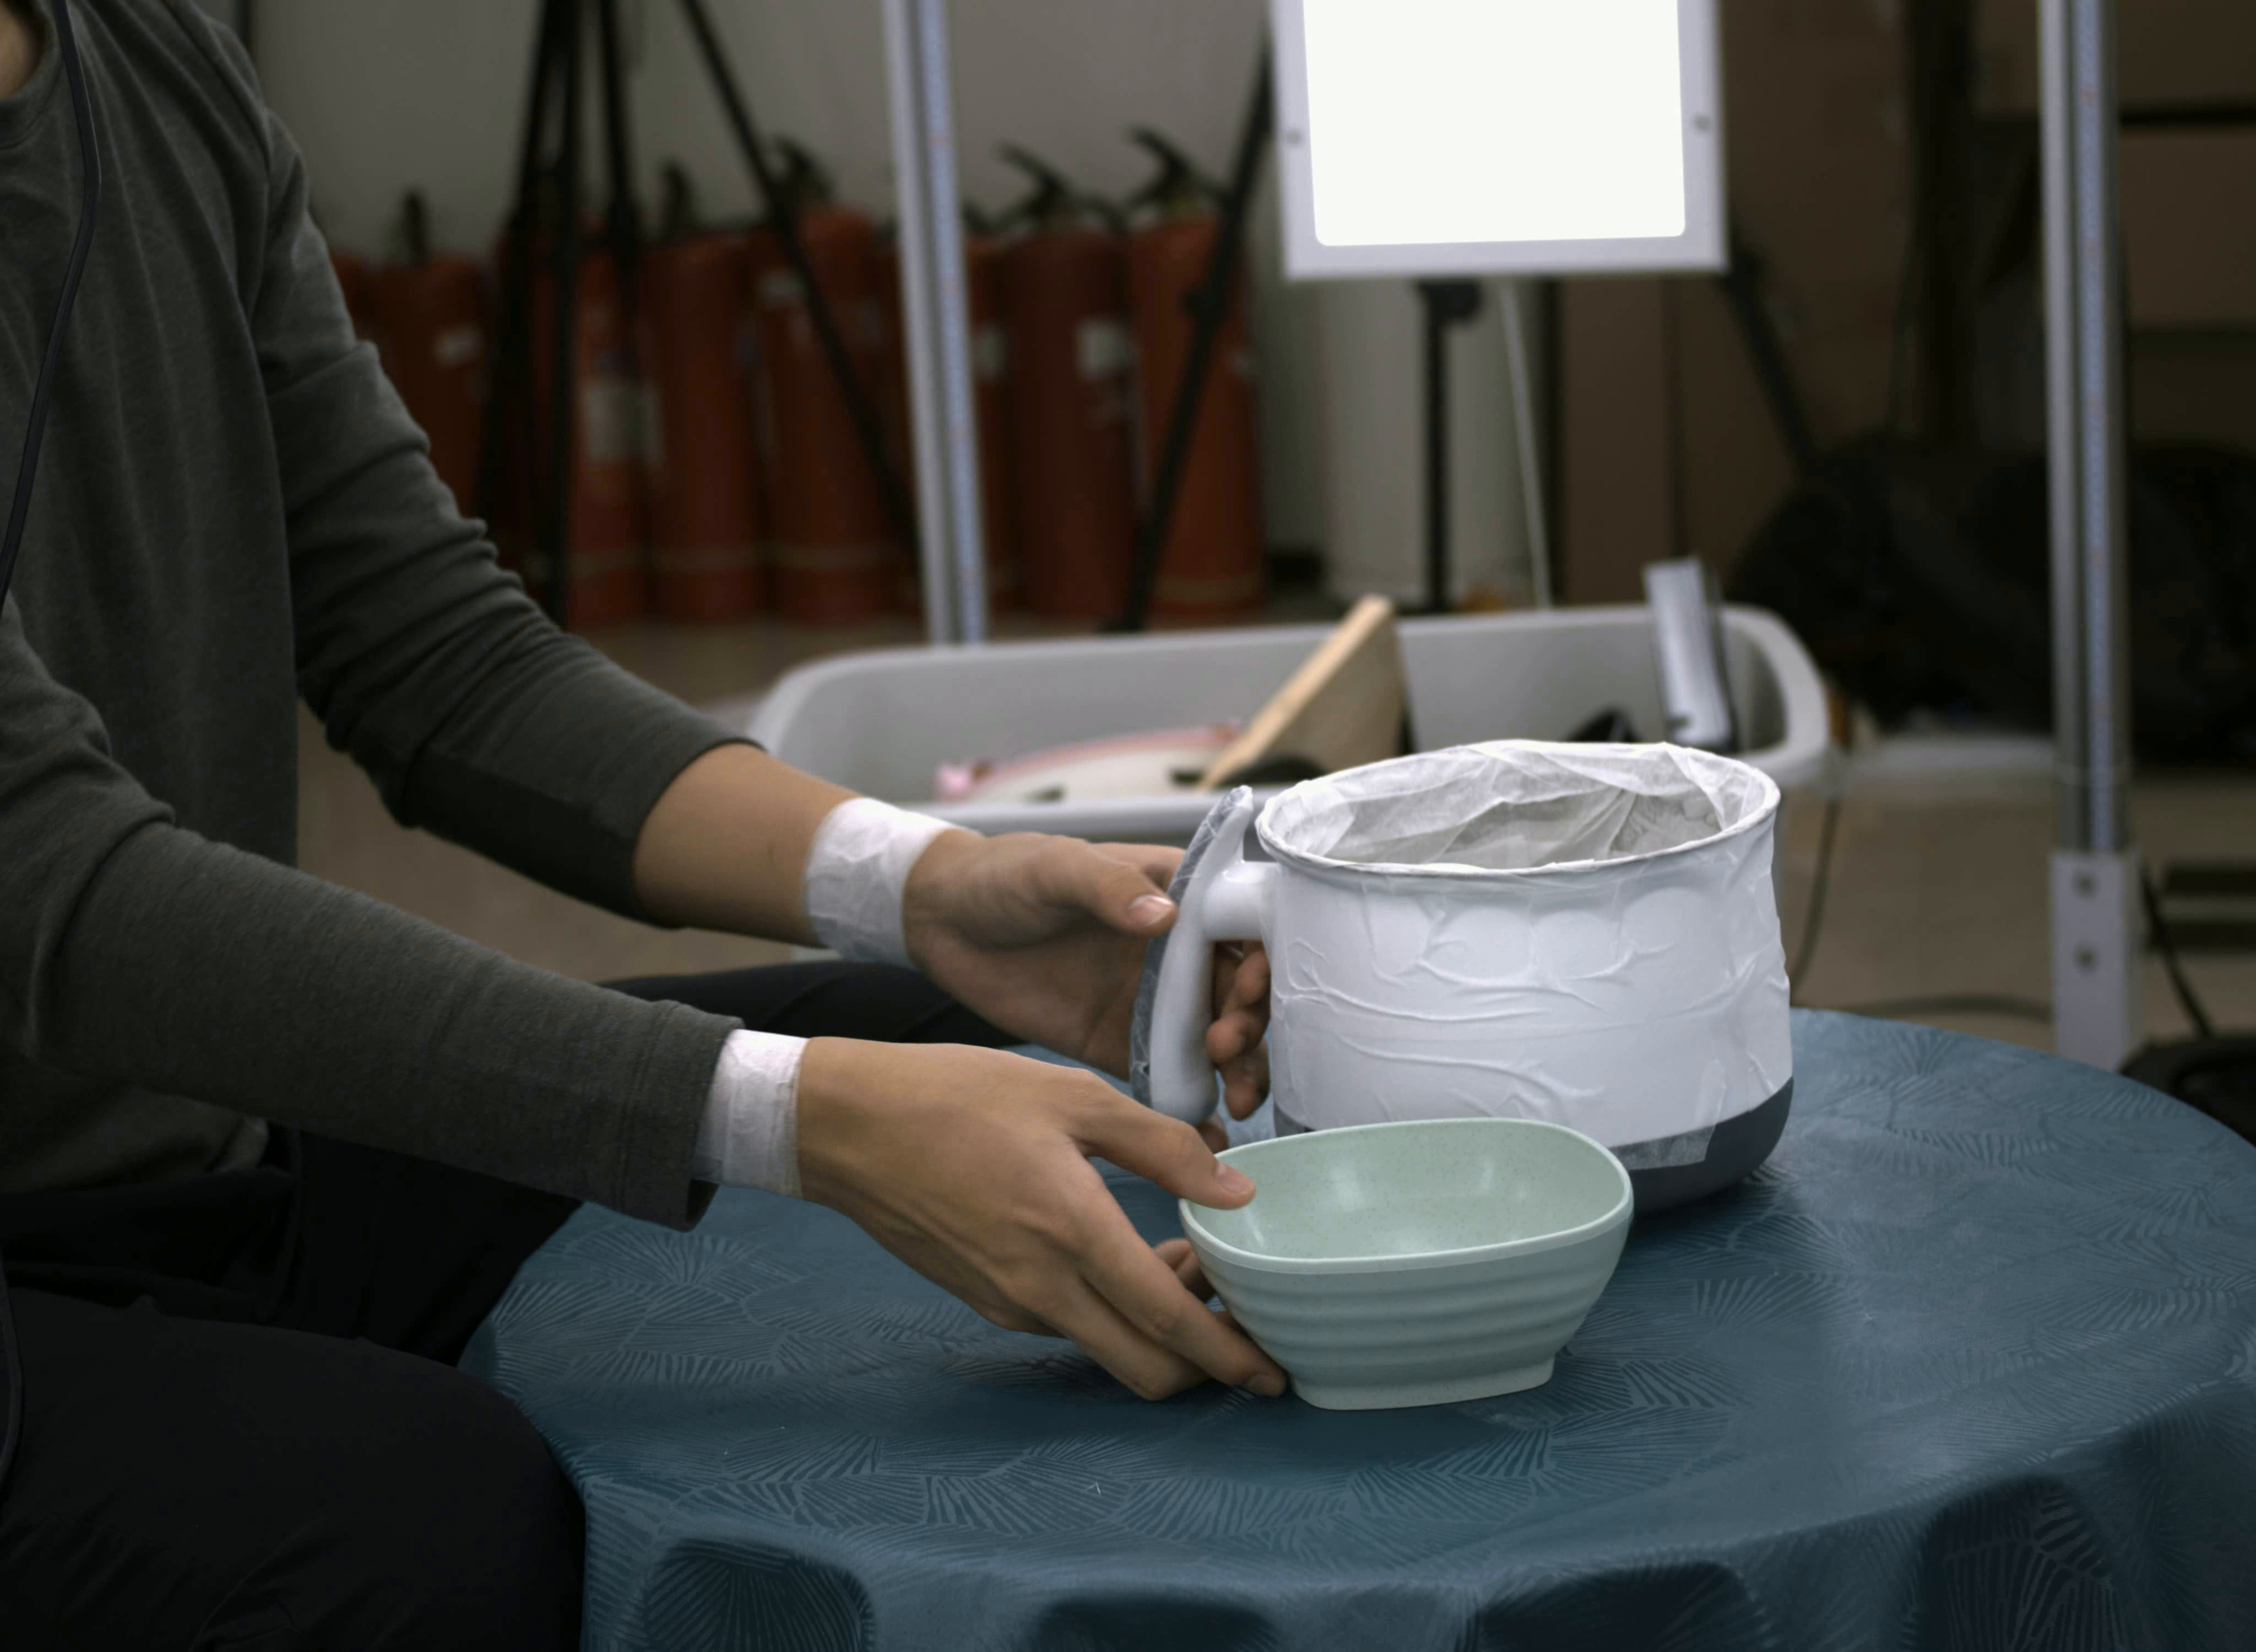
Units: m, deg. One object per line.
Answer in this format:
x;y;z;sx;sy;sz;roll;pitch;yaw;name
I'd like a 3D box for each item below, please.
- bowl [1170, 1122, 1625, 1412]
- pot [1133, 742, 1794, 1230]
0.084;0.139;1.701;0.151;0.059;0.151;-3;14;-1;bowl
0.111;0.054;1.873;0.237;0.137;0.175;0;14;22;pot
